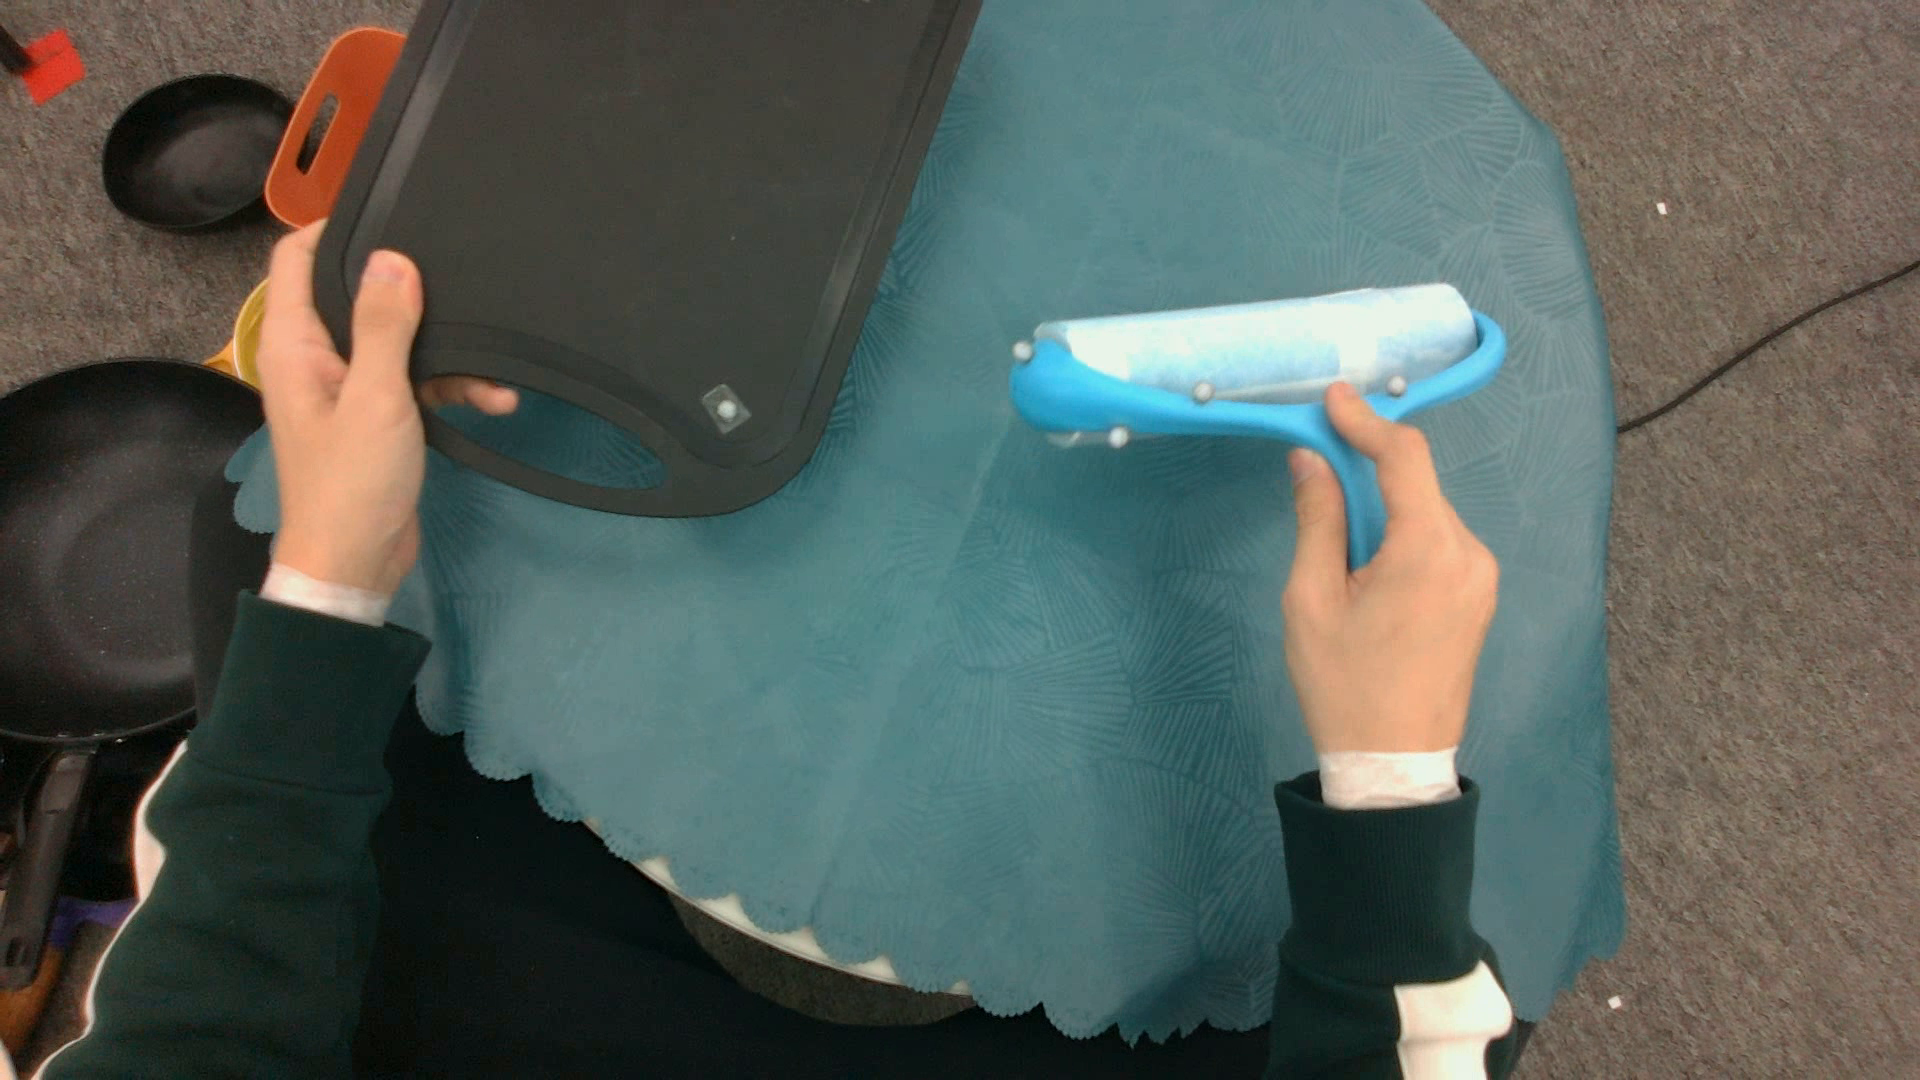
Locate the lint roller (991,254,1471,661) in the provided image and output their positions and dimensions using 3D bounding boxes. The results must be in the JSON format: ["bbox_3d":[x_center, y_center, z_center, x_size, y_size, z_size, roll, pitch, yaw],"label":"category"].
[{"bbox_3d":[0.142,-0.042,0.577,0.229,0.067,0.180,-11,61,-24],"label":"lint roller"}]

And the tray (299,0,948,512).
[{"bbox_3d":[-0.133,-0.173,0.585,0.211,0.010,0.326,20,80,-14],"label":"tray"}]
